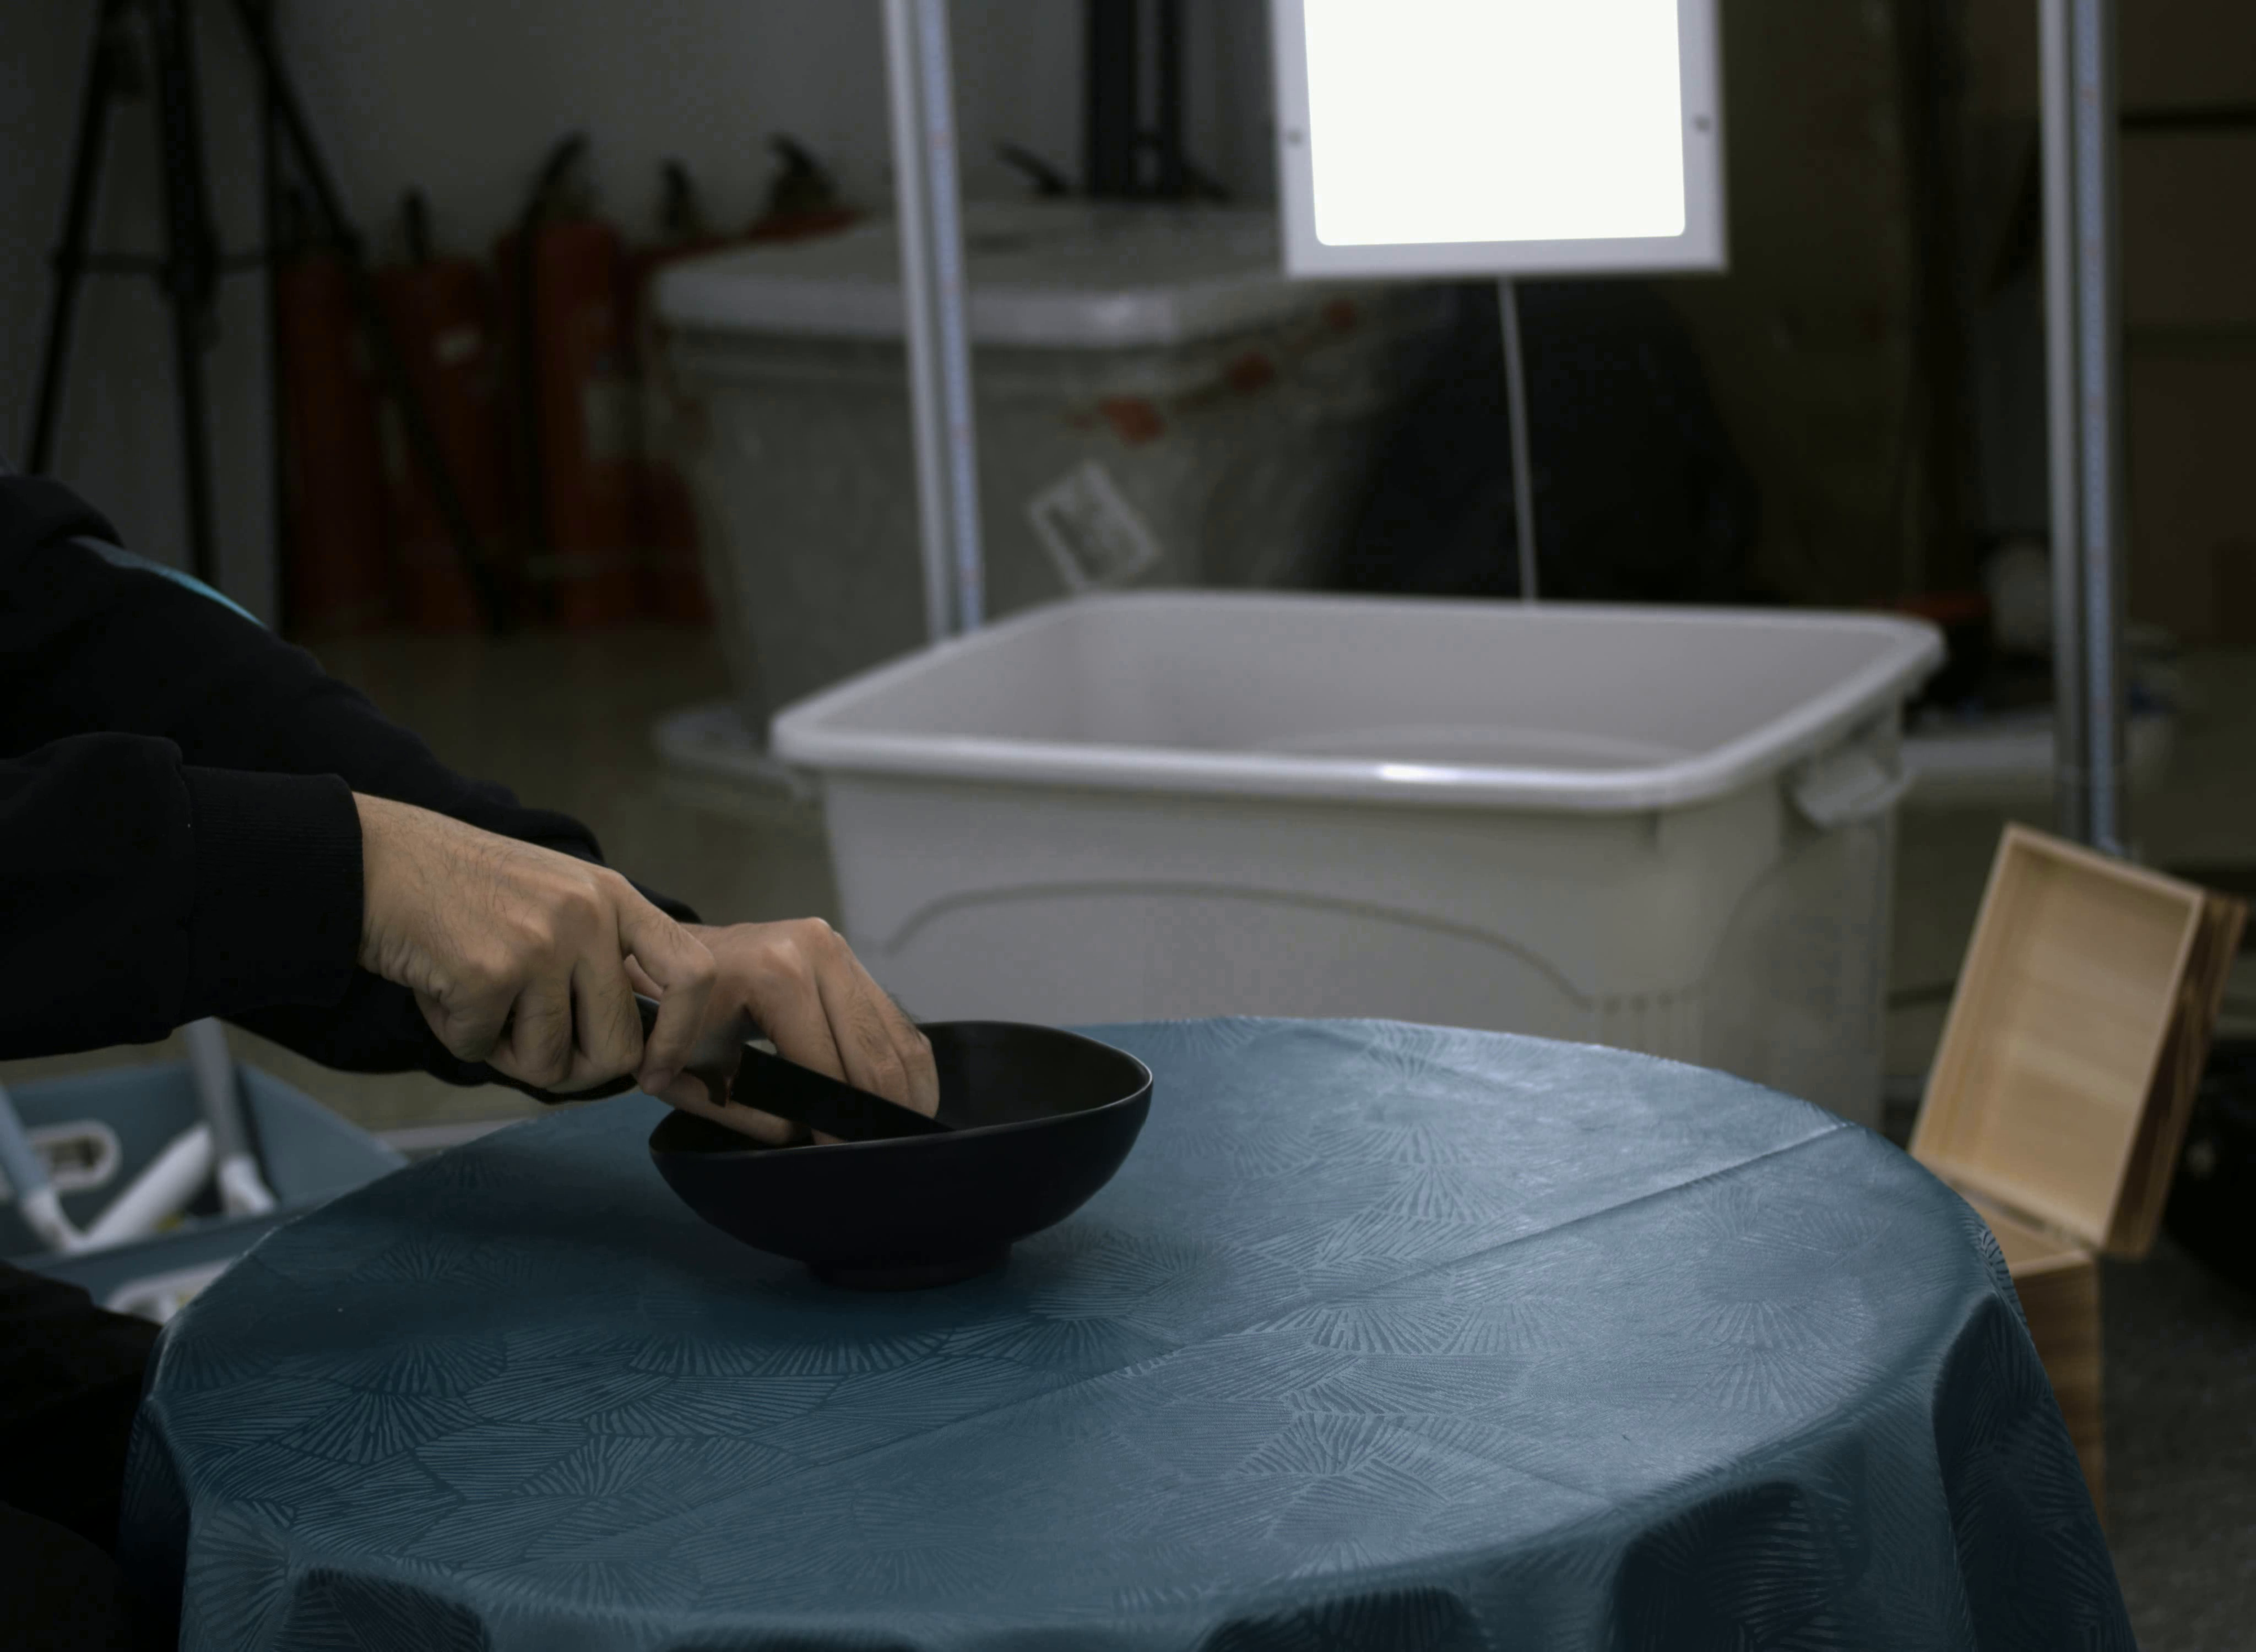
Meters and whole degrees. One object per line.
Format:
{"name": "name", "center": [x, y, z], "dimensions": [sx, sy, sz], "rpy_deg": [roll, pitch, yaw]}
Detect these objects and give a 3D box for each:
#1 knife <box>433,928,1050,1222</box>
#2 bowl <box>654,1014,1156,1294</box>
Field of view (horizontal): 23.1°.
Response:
{"name": "knife", "center": [-0.127, 0.083, 1.830], "dimensions": [0.224, 0.026, 0.017], "rpy_deg": [23, 33, -3]}
{"name": "bowl", "center": [-0.072, 0.115, 1.836], "dimensions": [0.170, 0.067, 0.137], "rpy_deg": [-7, 14, 0]}
